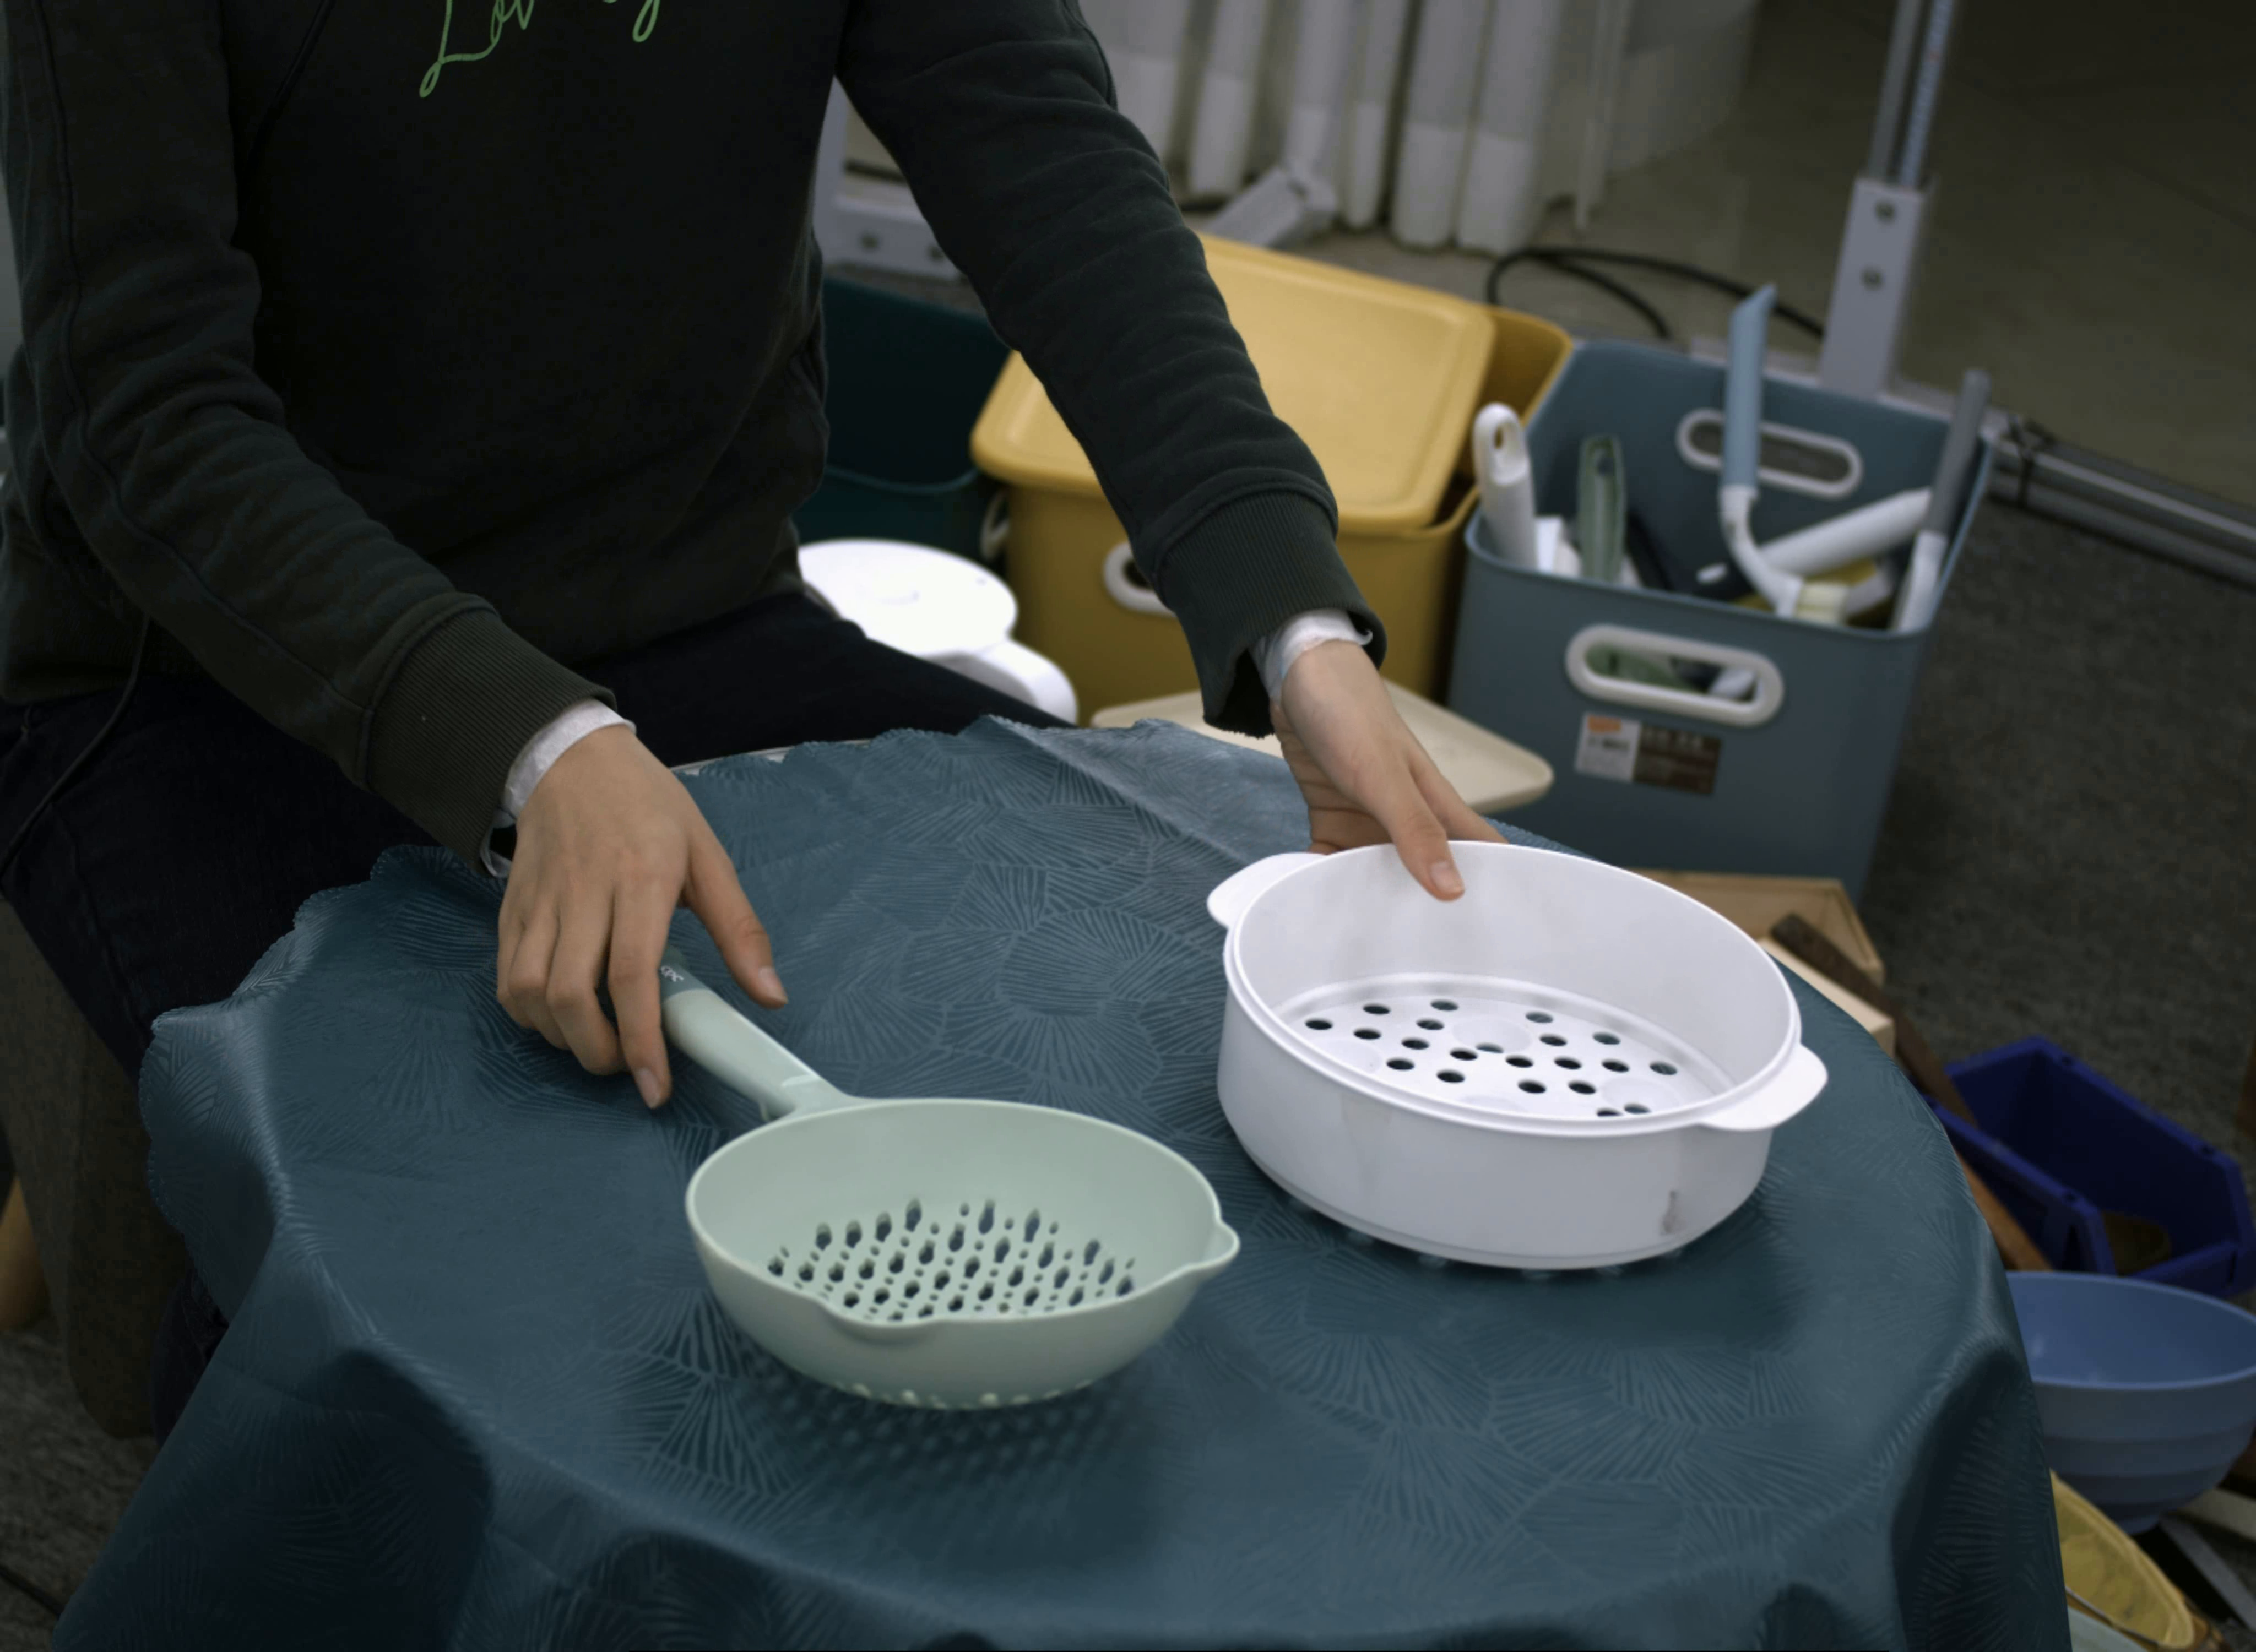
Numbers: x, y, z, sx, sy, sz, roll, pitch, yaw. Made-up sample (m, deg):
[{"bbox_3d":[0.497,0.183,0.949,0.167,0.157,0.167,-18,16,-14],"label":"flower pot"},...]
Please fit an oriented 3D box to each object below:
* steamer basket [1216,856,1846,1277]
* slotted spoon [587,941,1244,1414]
[{"bbox_3d":[0.133,0.083,1.839,0.232,0.069,0.201,21,29,27],"label":"steamer basket"},{"bbox_3d":[-0.102,0.100,1.754,0.168,0.075,0.362,-8,30,-28],"label":"slotted spoon"}]
